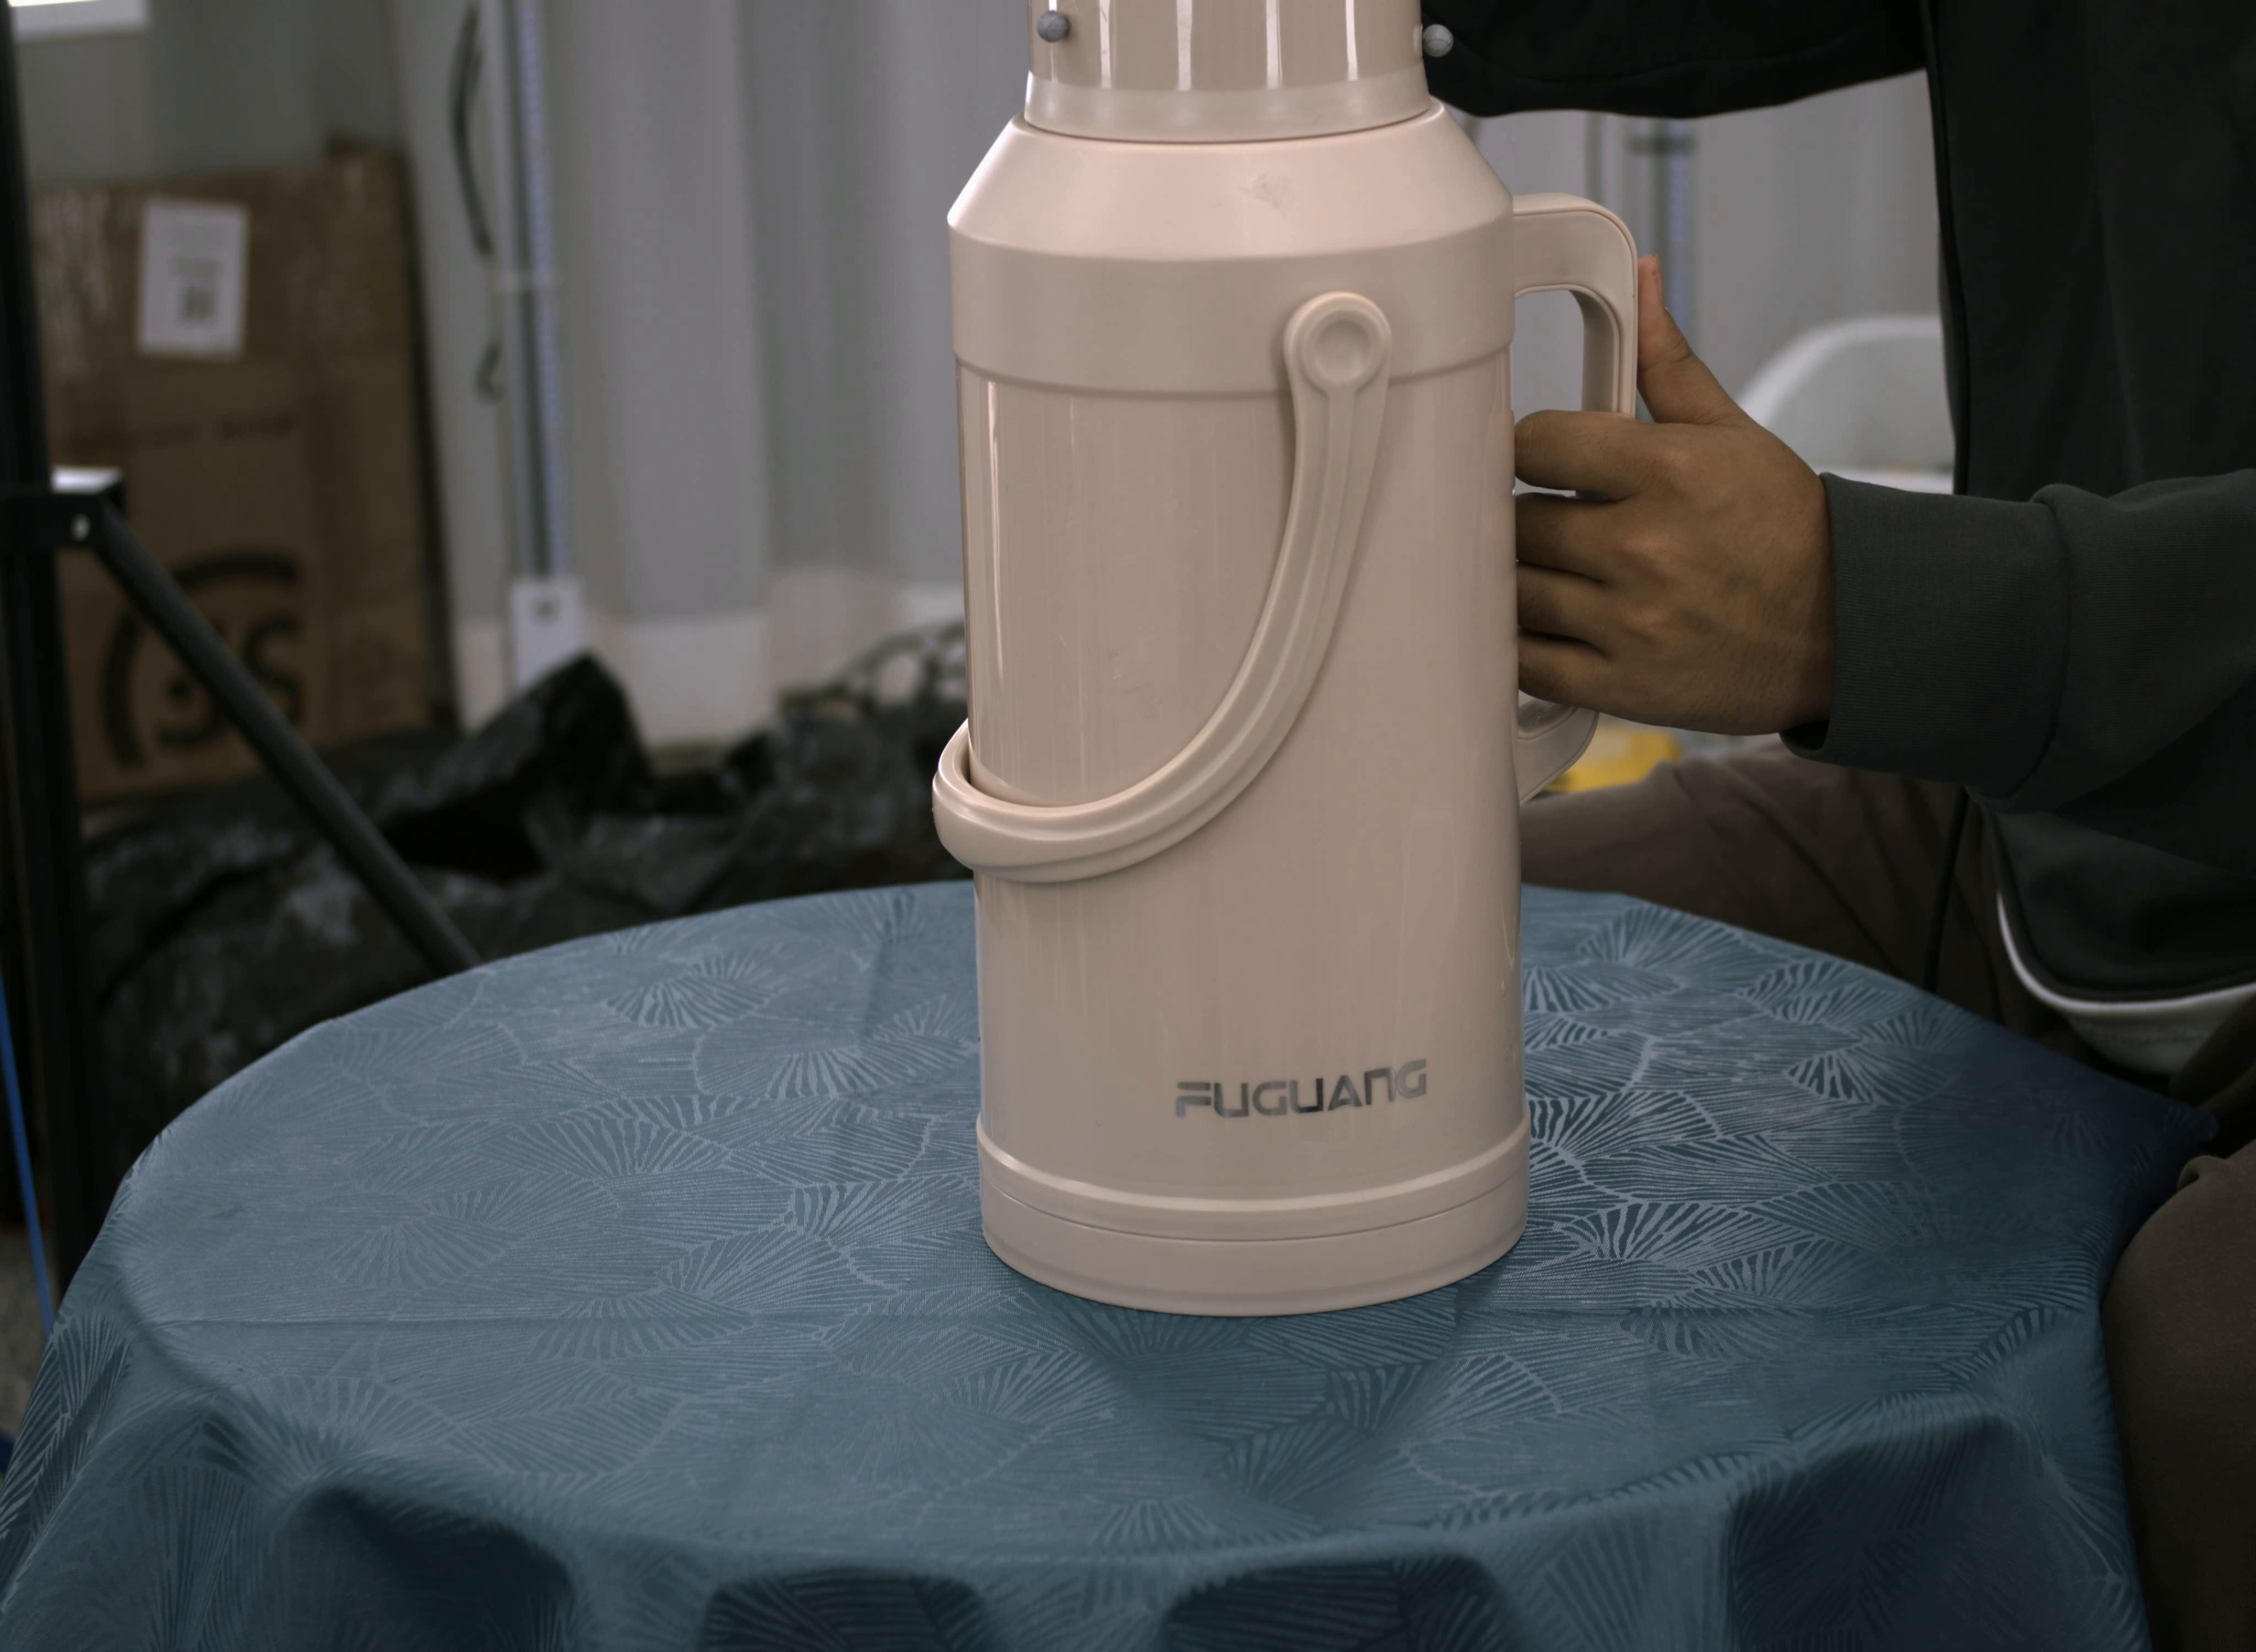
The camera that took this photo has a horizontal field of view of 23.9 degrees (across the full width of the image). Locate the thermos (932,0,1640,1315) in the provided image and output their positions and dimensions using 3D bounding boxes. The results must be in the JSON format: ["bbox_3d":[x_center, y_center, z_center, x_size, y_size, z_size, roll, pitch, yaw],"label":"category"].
[{"bbox_3d":[0.045,-0.079,1.485,0.203,0.406,0.178,-7,16,-16],"label":"thermos"}]
